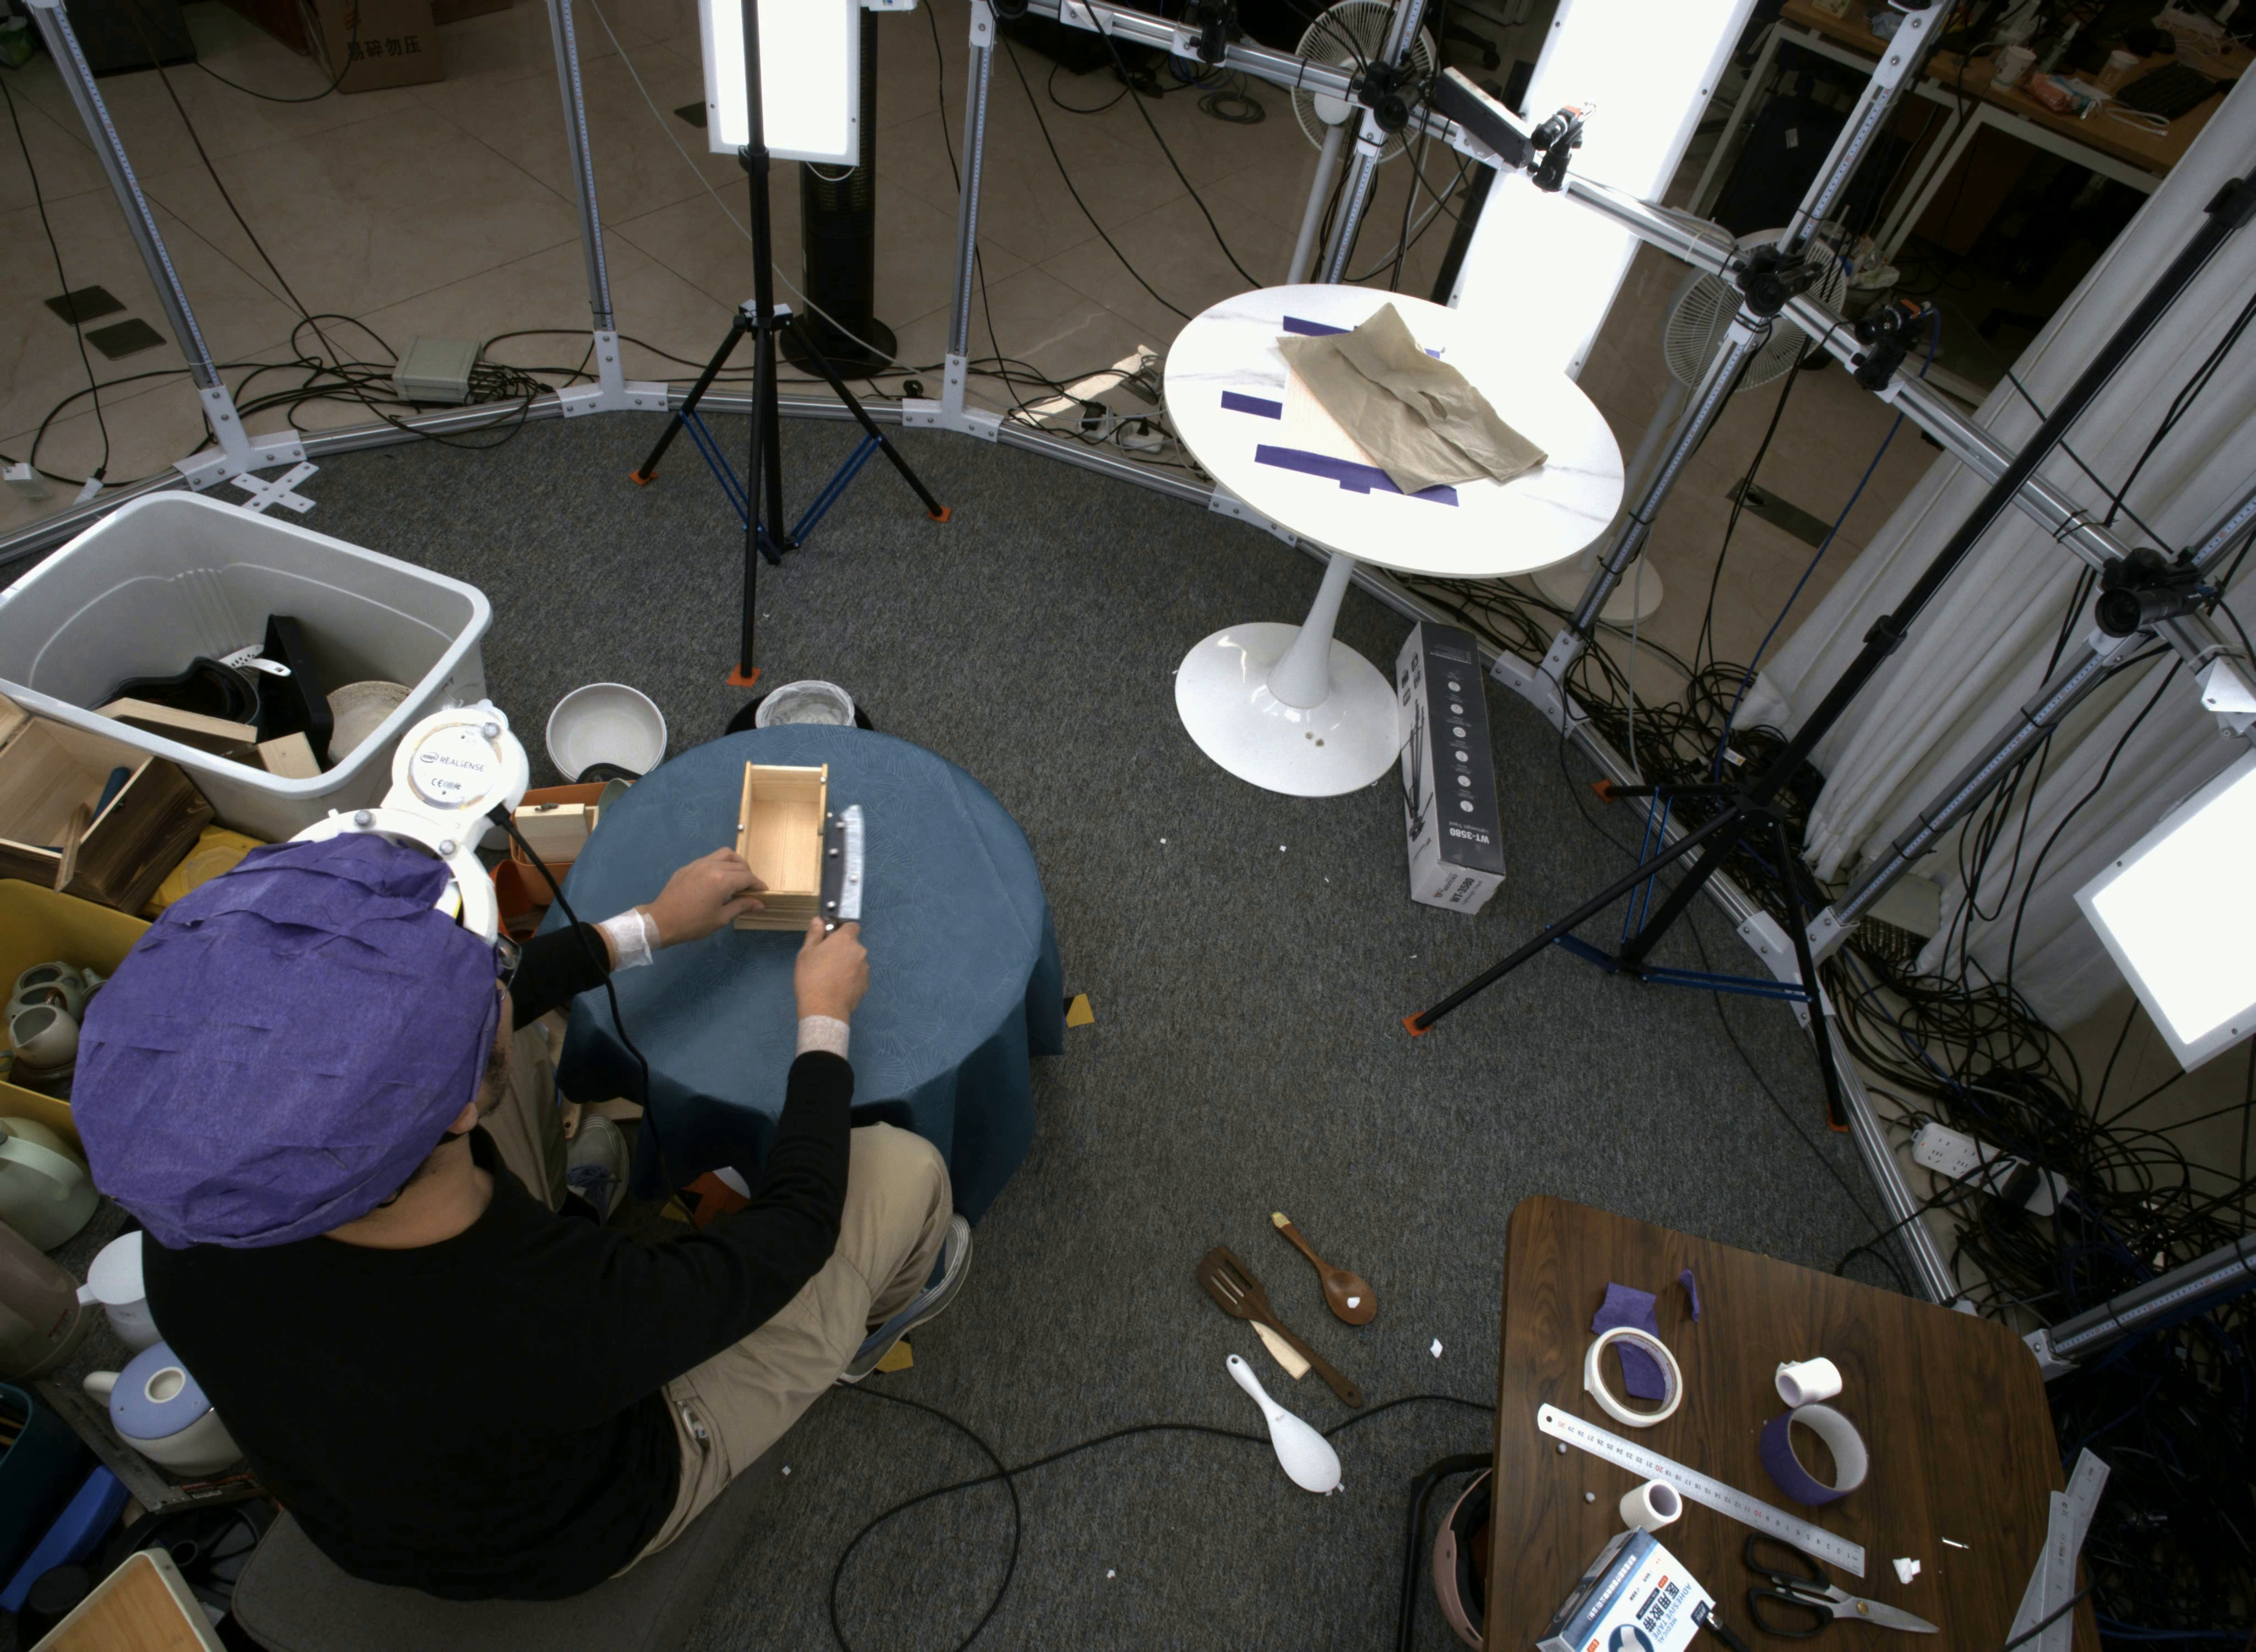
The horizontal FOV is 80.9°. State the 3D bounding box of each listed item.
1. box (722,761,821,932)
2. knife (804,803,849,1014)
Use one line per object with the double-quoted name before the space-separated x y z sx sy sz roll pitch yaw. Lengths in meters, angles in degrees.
"box" -0.449 0.023 1.643 0.107 0.082 0.207 1 53 -12
"knife" -0.354 0.088 1.527 0.050 0.020 0.284 5 56 -10
